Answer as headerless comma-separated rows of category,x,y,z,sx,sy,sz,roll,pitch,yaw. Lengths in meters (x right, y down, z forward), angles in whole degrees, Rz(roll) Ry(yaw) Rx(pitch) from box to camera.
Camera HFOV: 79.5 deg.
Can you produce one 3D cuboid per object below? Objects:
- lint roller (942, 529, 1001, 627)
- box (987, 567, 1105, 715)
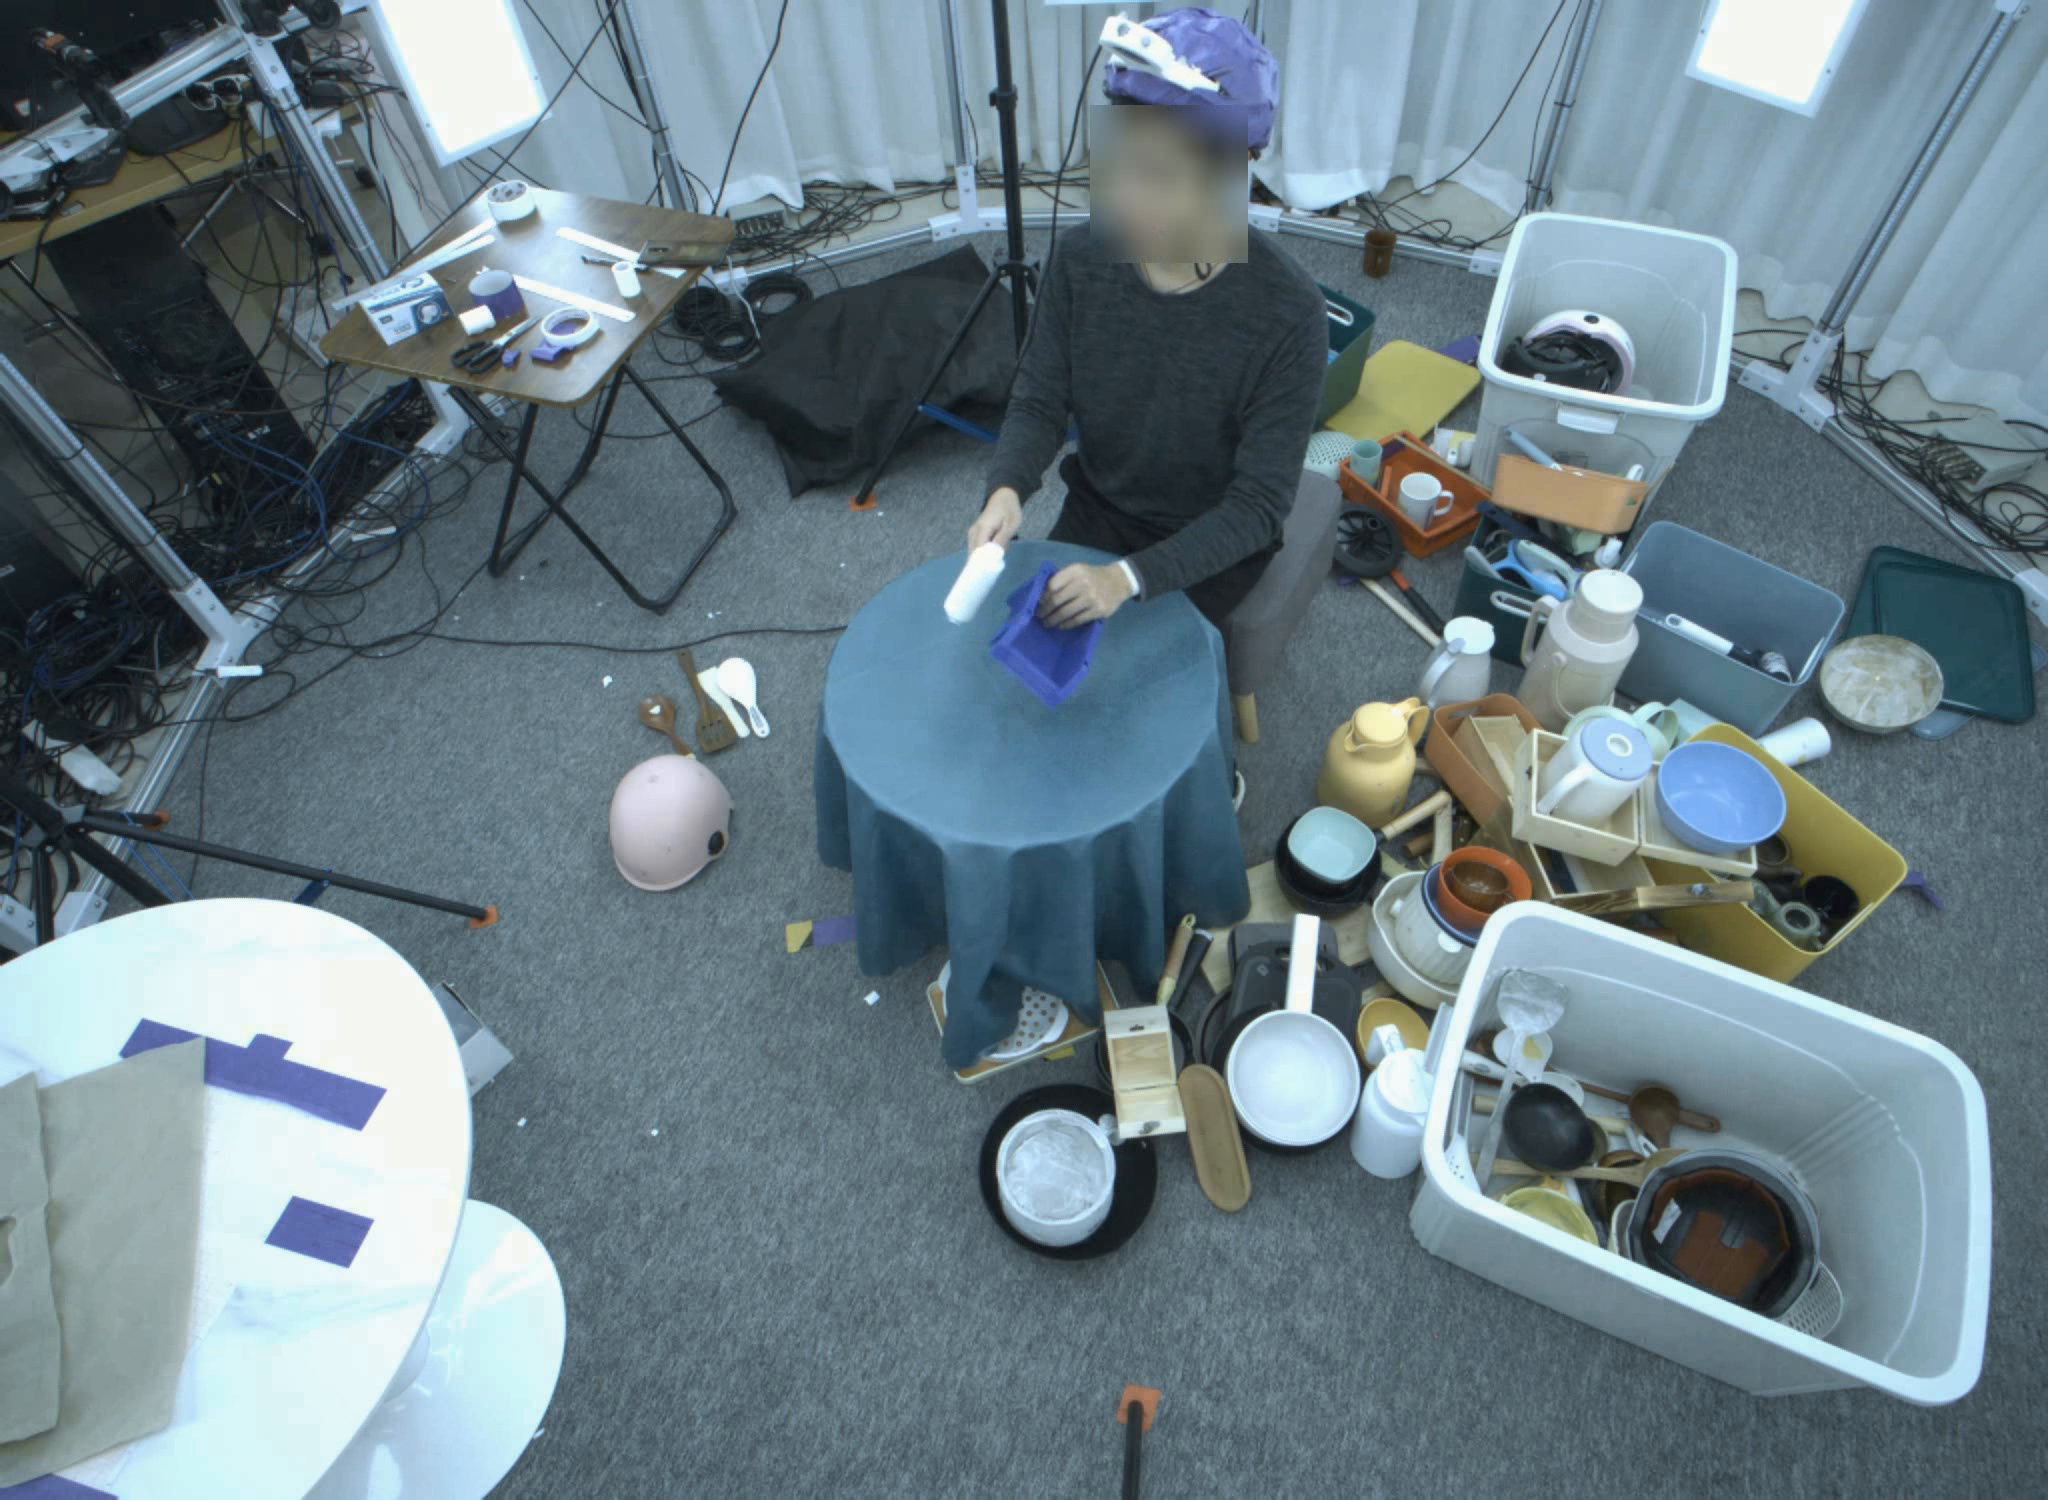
lint roller,-0.067,-0.270,1.743,0.051,0.132,0.179,21,42,-14
box,0.030,-0.147,1.696,0.126,0.081,0.178,41,36,-18
